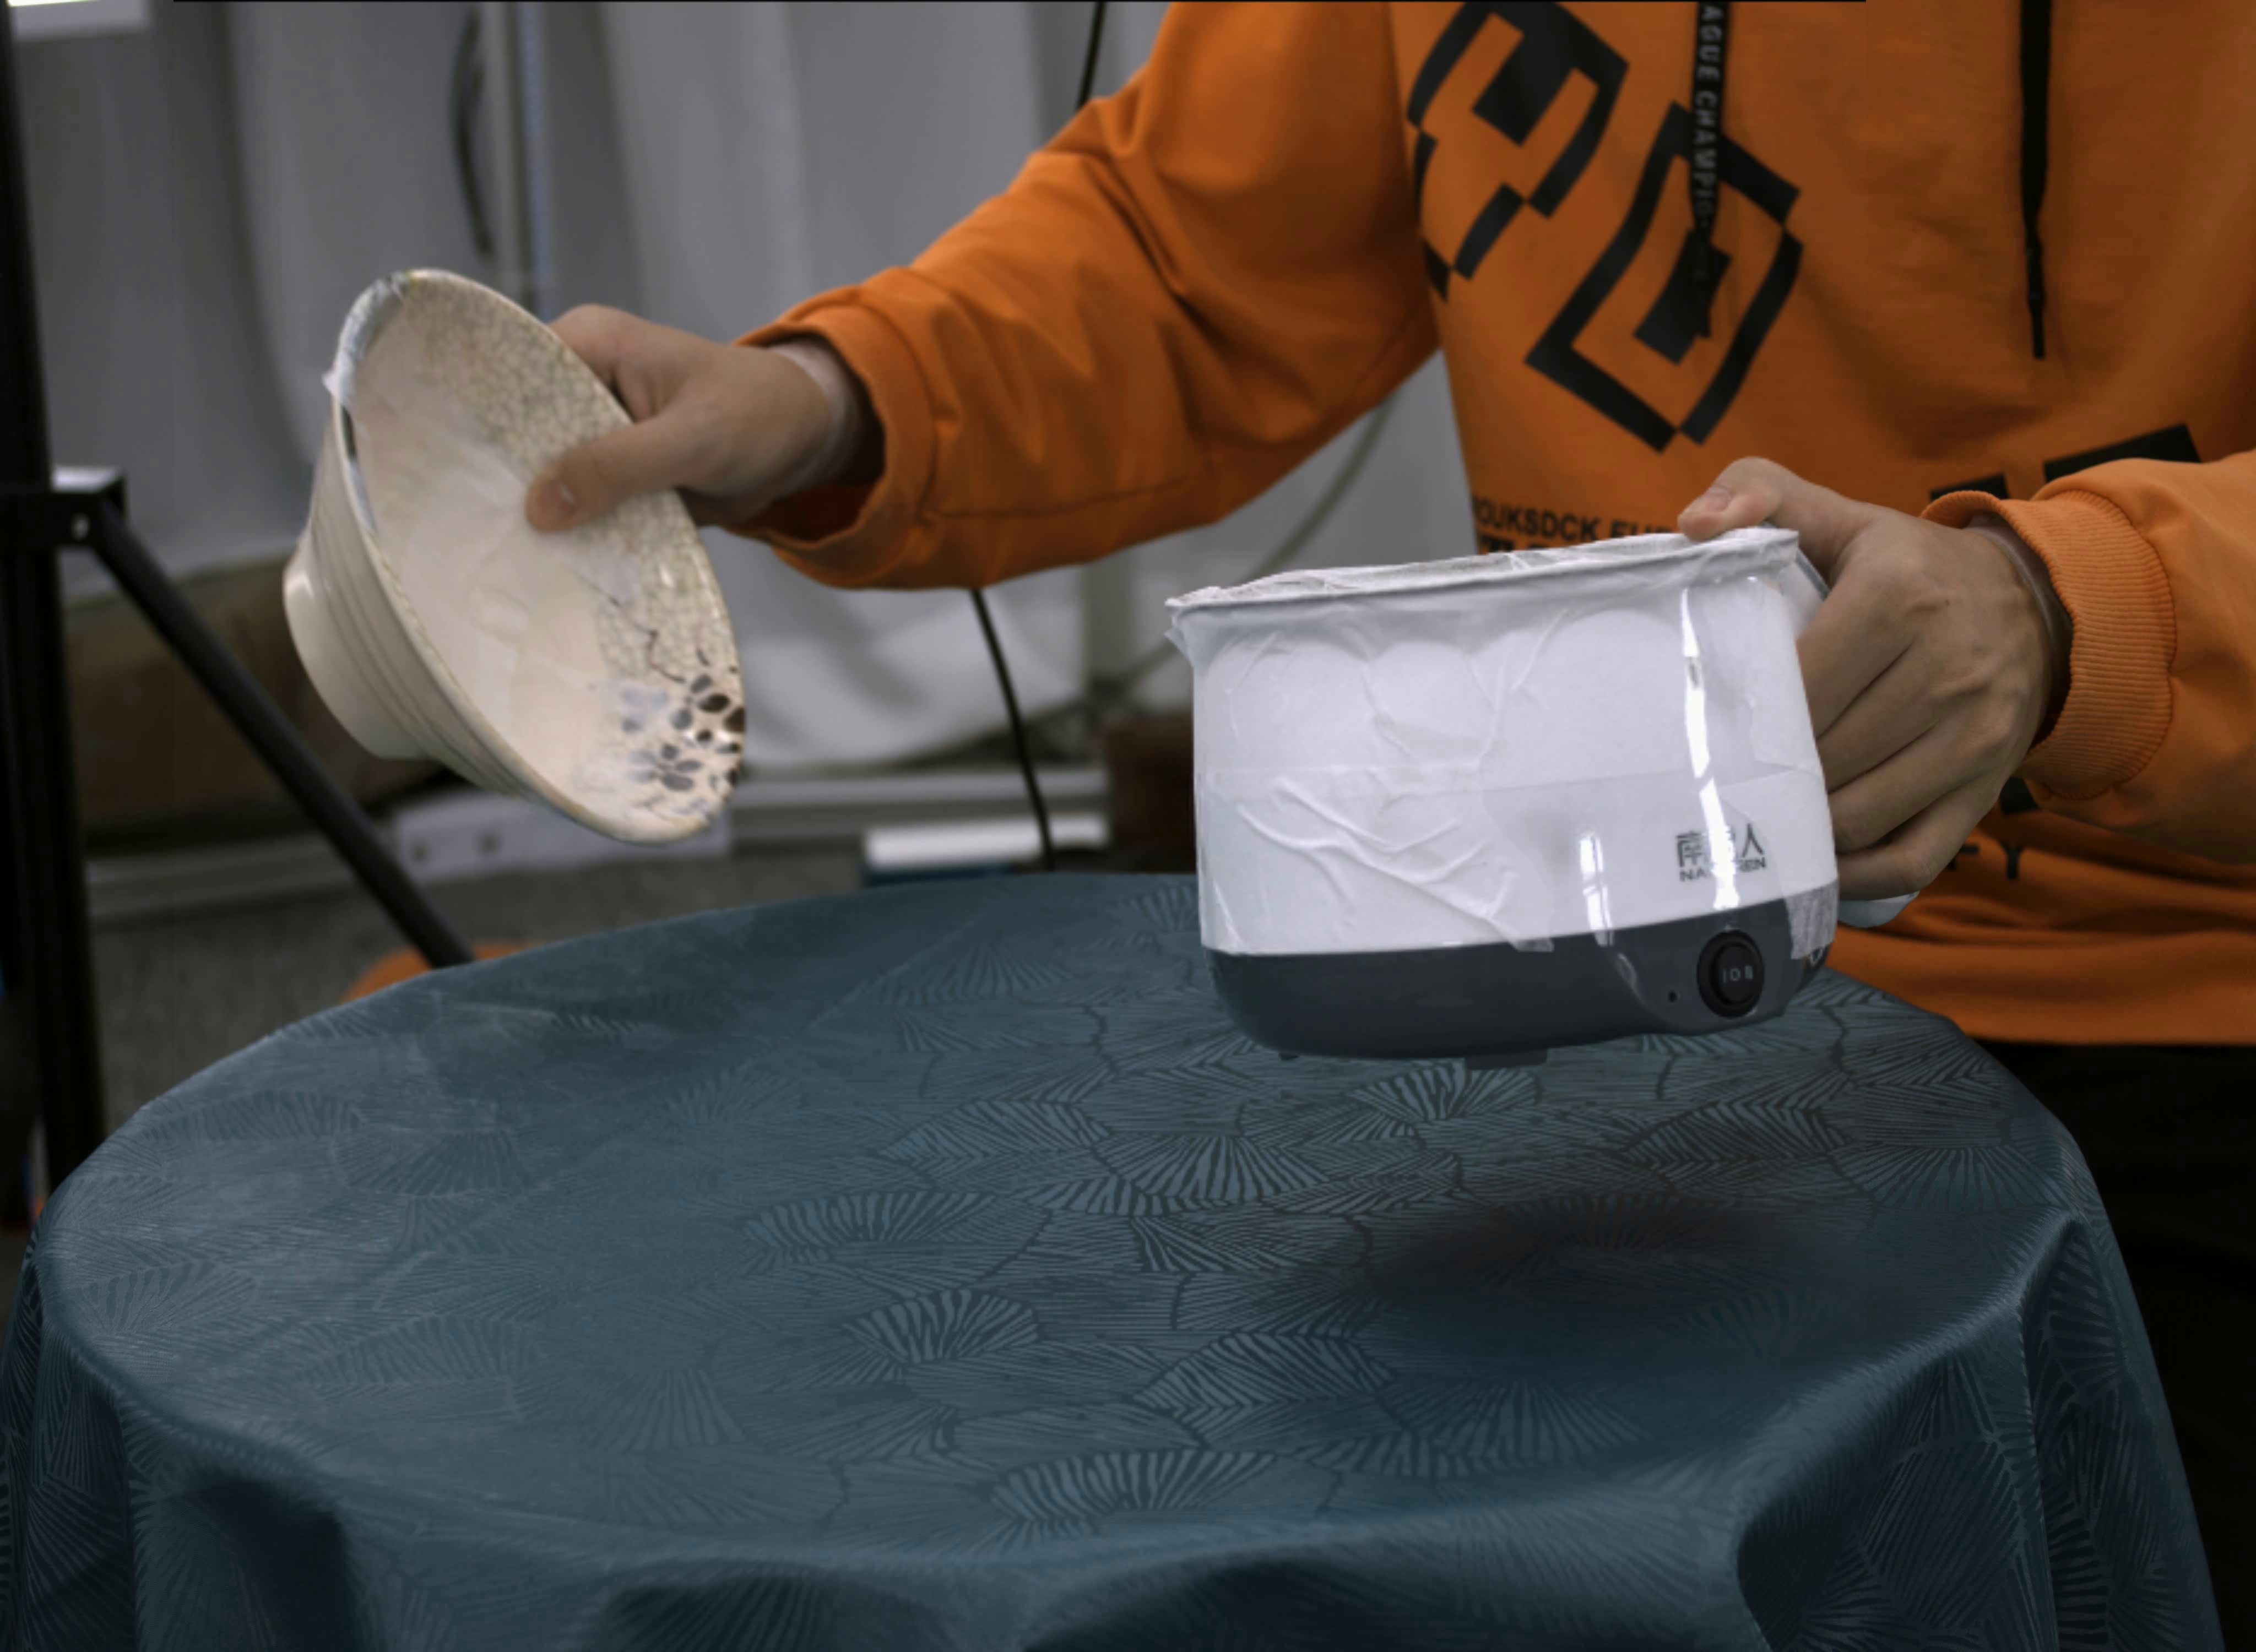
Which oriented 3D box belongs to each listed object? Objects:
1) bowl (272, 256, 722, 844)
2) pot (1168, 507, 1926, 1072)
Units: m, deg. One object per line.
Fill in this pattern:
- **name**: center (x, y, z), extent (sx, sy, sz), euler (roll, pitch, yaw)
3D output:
- **bowl**: center (-0.219, -0.075, 1.727), extent (0.079, 0.204, 0.202), euler (-26, 7, 22)
- **pot**: center (0.127, -0.013, 1.480), extent (0.228, 0.137, 0.182), euler (-9, 5, -36)
